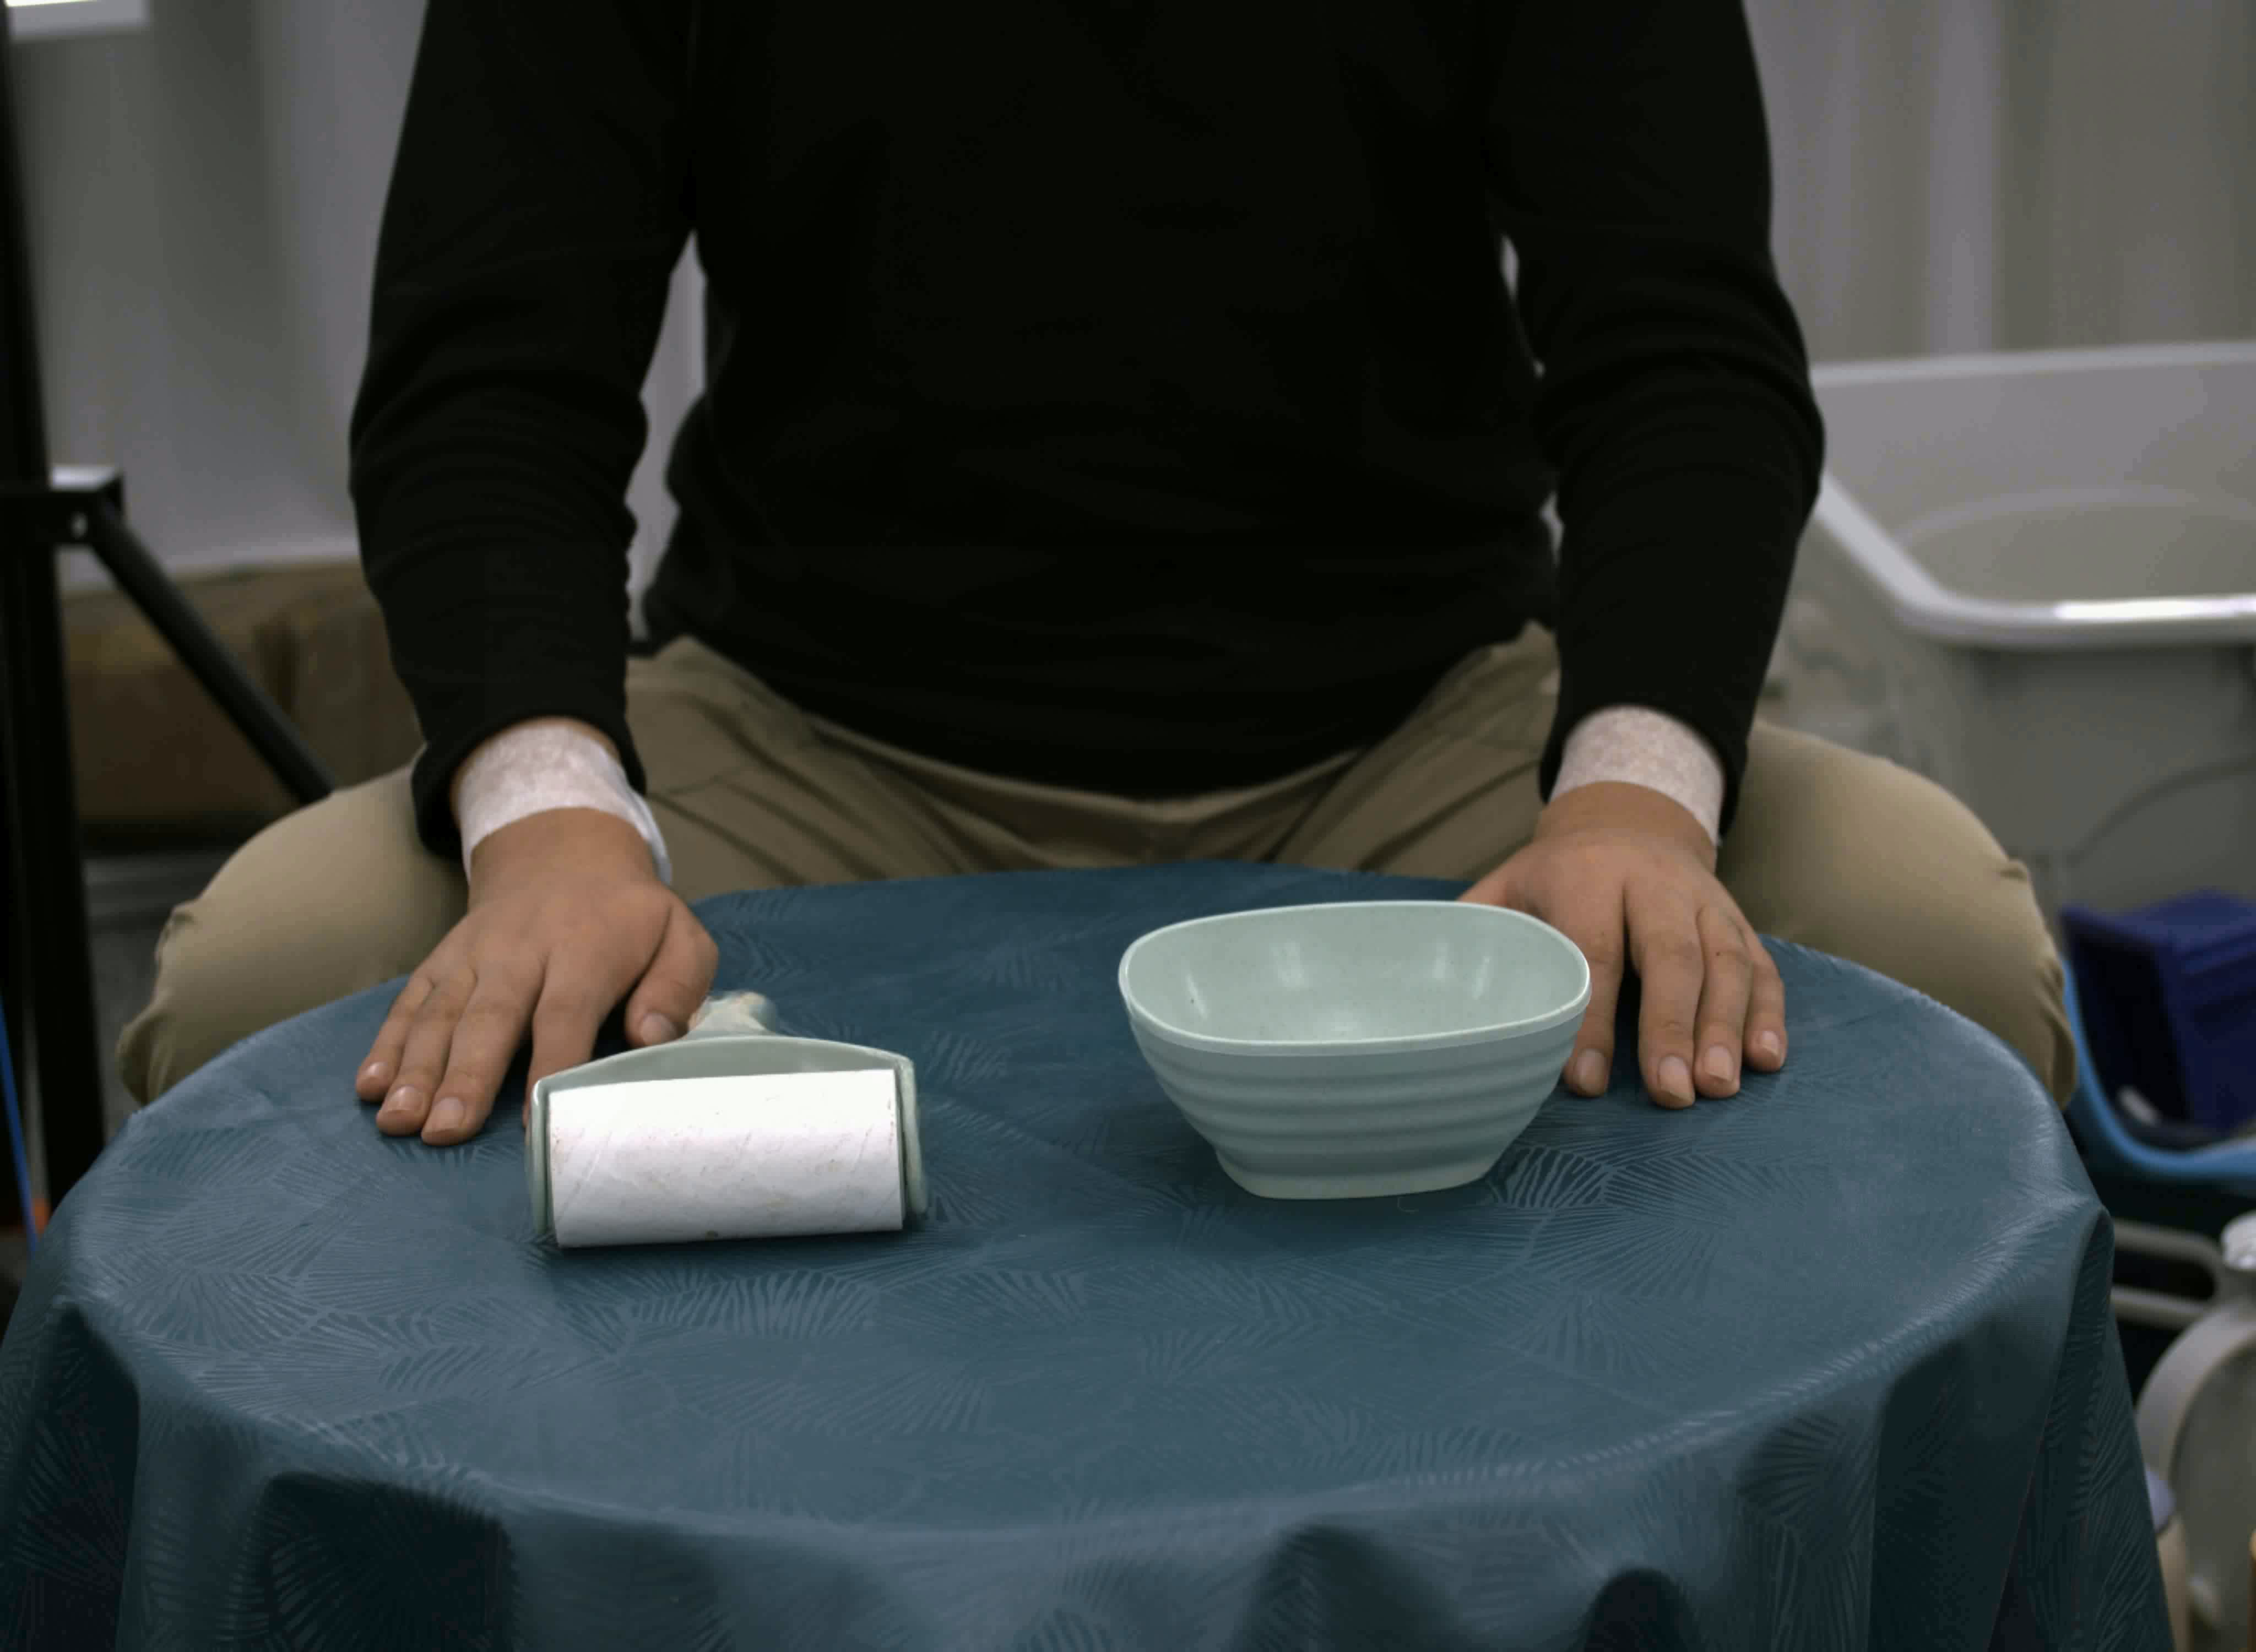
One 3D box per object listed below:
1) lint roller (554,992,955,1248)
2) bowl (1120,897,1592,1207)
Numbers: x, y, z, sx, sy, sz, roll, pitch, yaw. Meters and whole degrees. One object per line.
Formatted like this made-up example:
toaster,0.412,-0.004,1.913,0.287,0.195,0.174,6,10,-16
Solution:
lint roller,-0.112,0.077,1.605,0.116,0.048,0.199,-5,15,-2
bowl,0.068,0.071,1.576,0.151,0.058,0.152,-3,17,0
